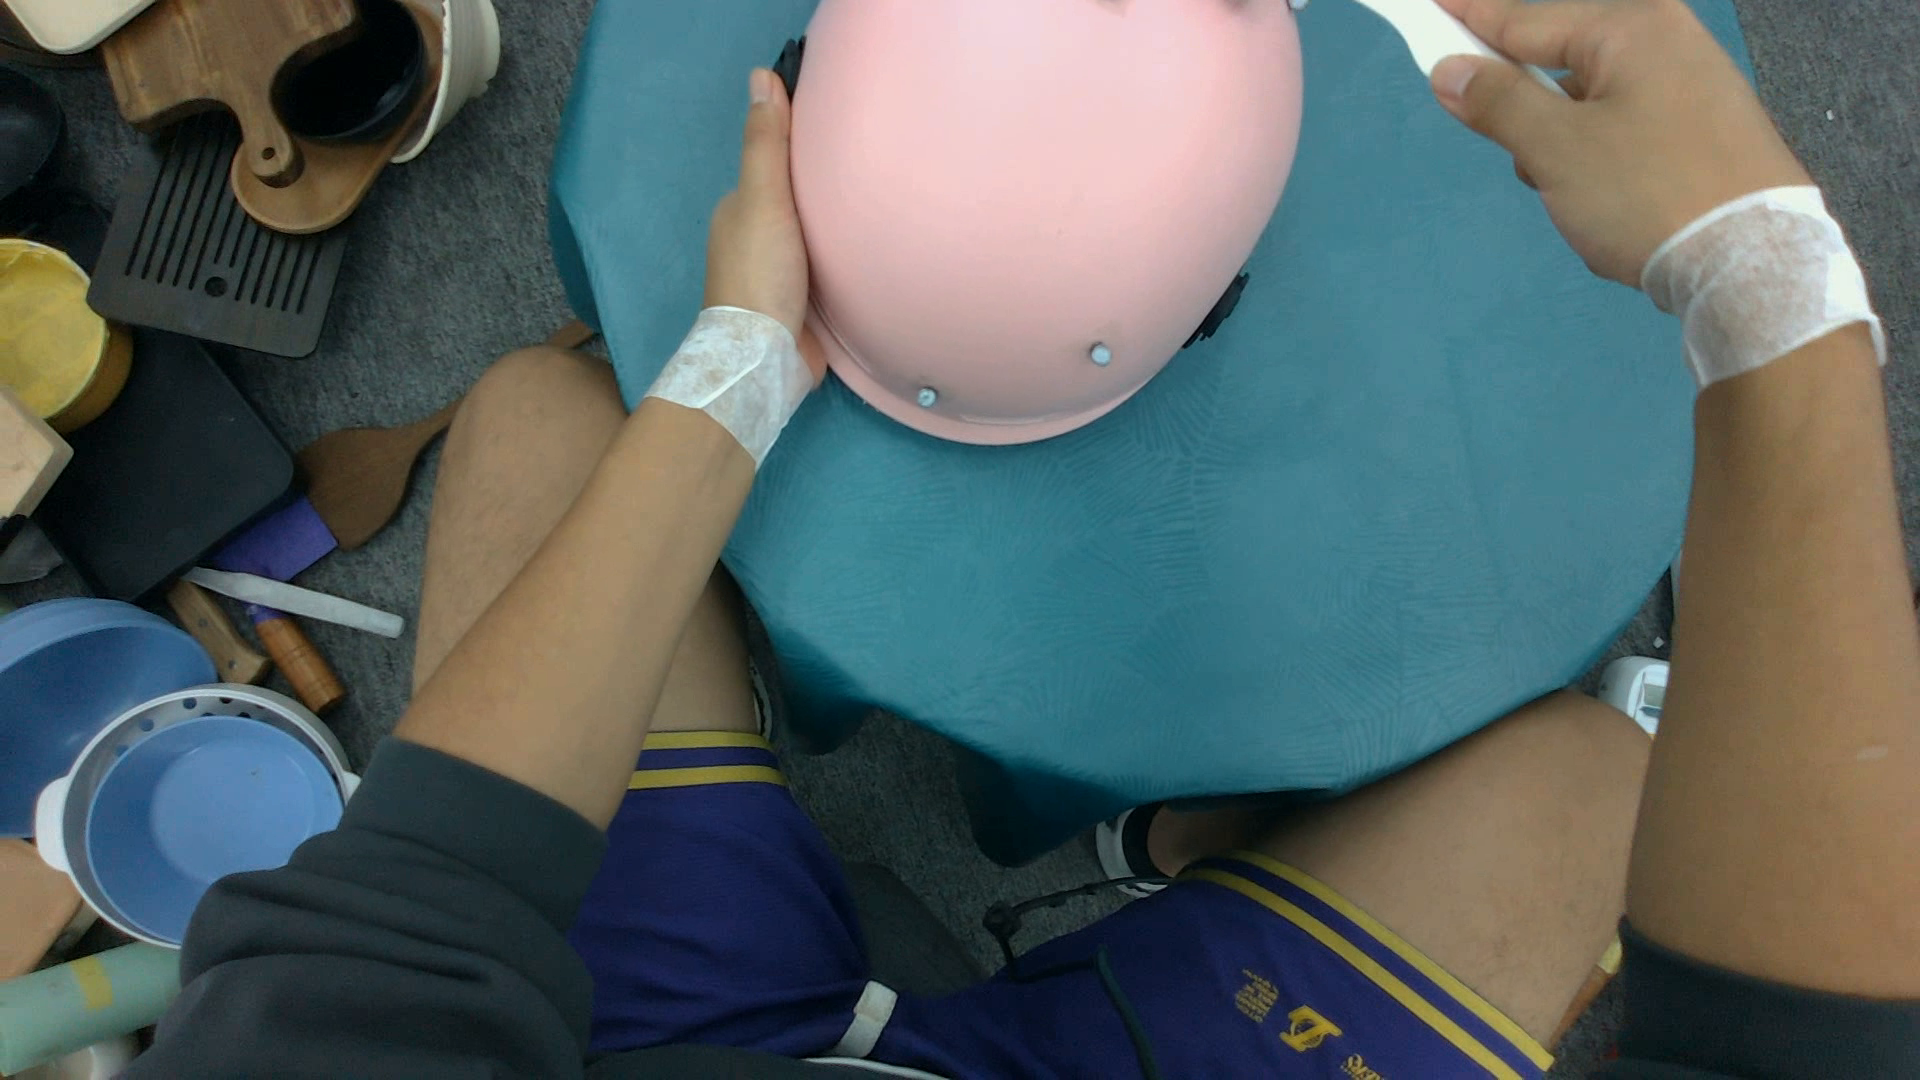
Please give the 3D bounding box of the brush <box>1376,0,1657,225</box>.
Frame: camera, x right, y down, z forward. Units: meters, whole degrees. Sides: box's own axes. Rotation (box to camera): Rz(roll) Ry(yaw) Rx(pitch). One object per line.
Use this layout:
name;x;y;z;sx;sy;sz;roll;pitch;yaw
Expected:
brush;0.142;-0.183;0.479;0.034;0.050;0.244;-19;65;-33

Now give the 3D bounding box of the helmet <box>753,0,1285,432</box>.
helmet;0.032;-0.180;0.583;0.234;0.159;0.266;24;87;-9
